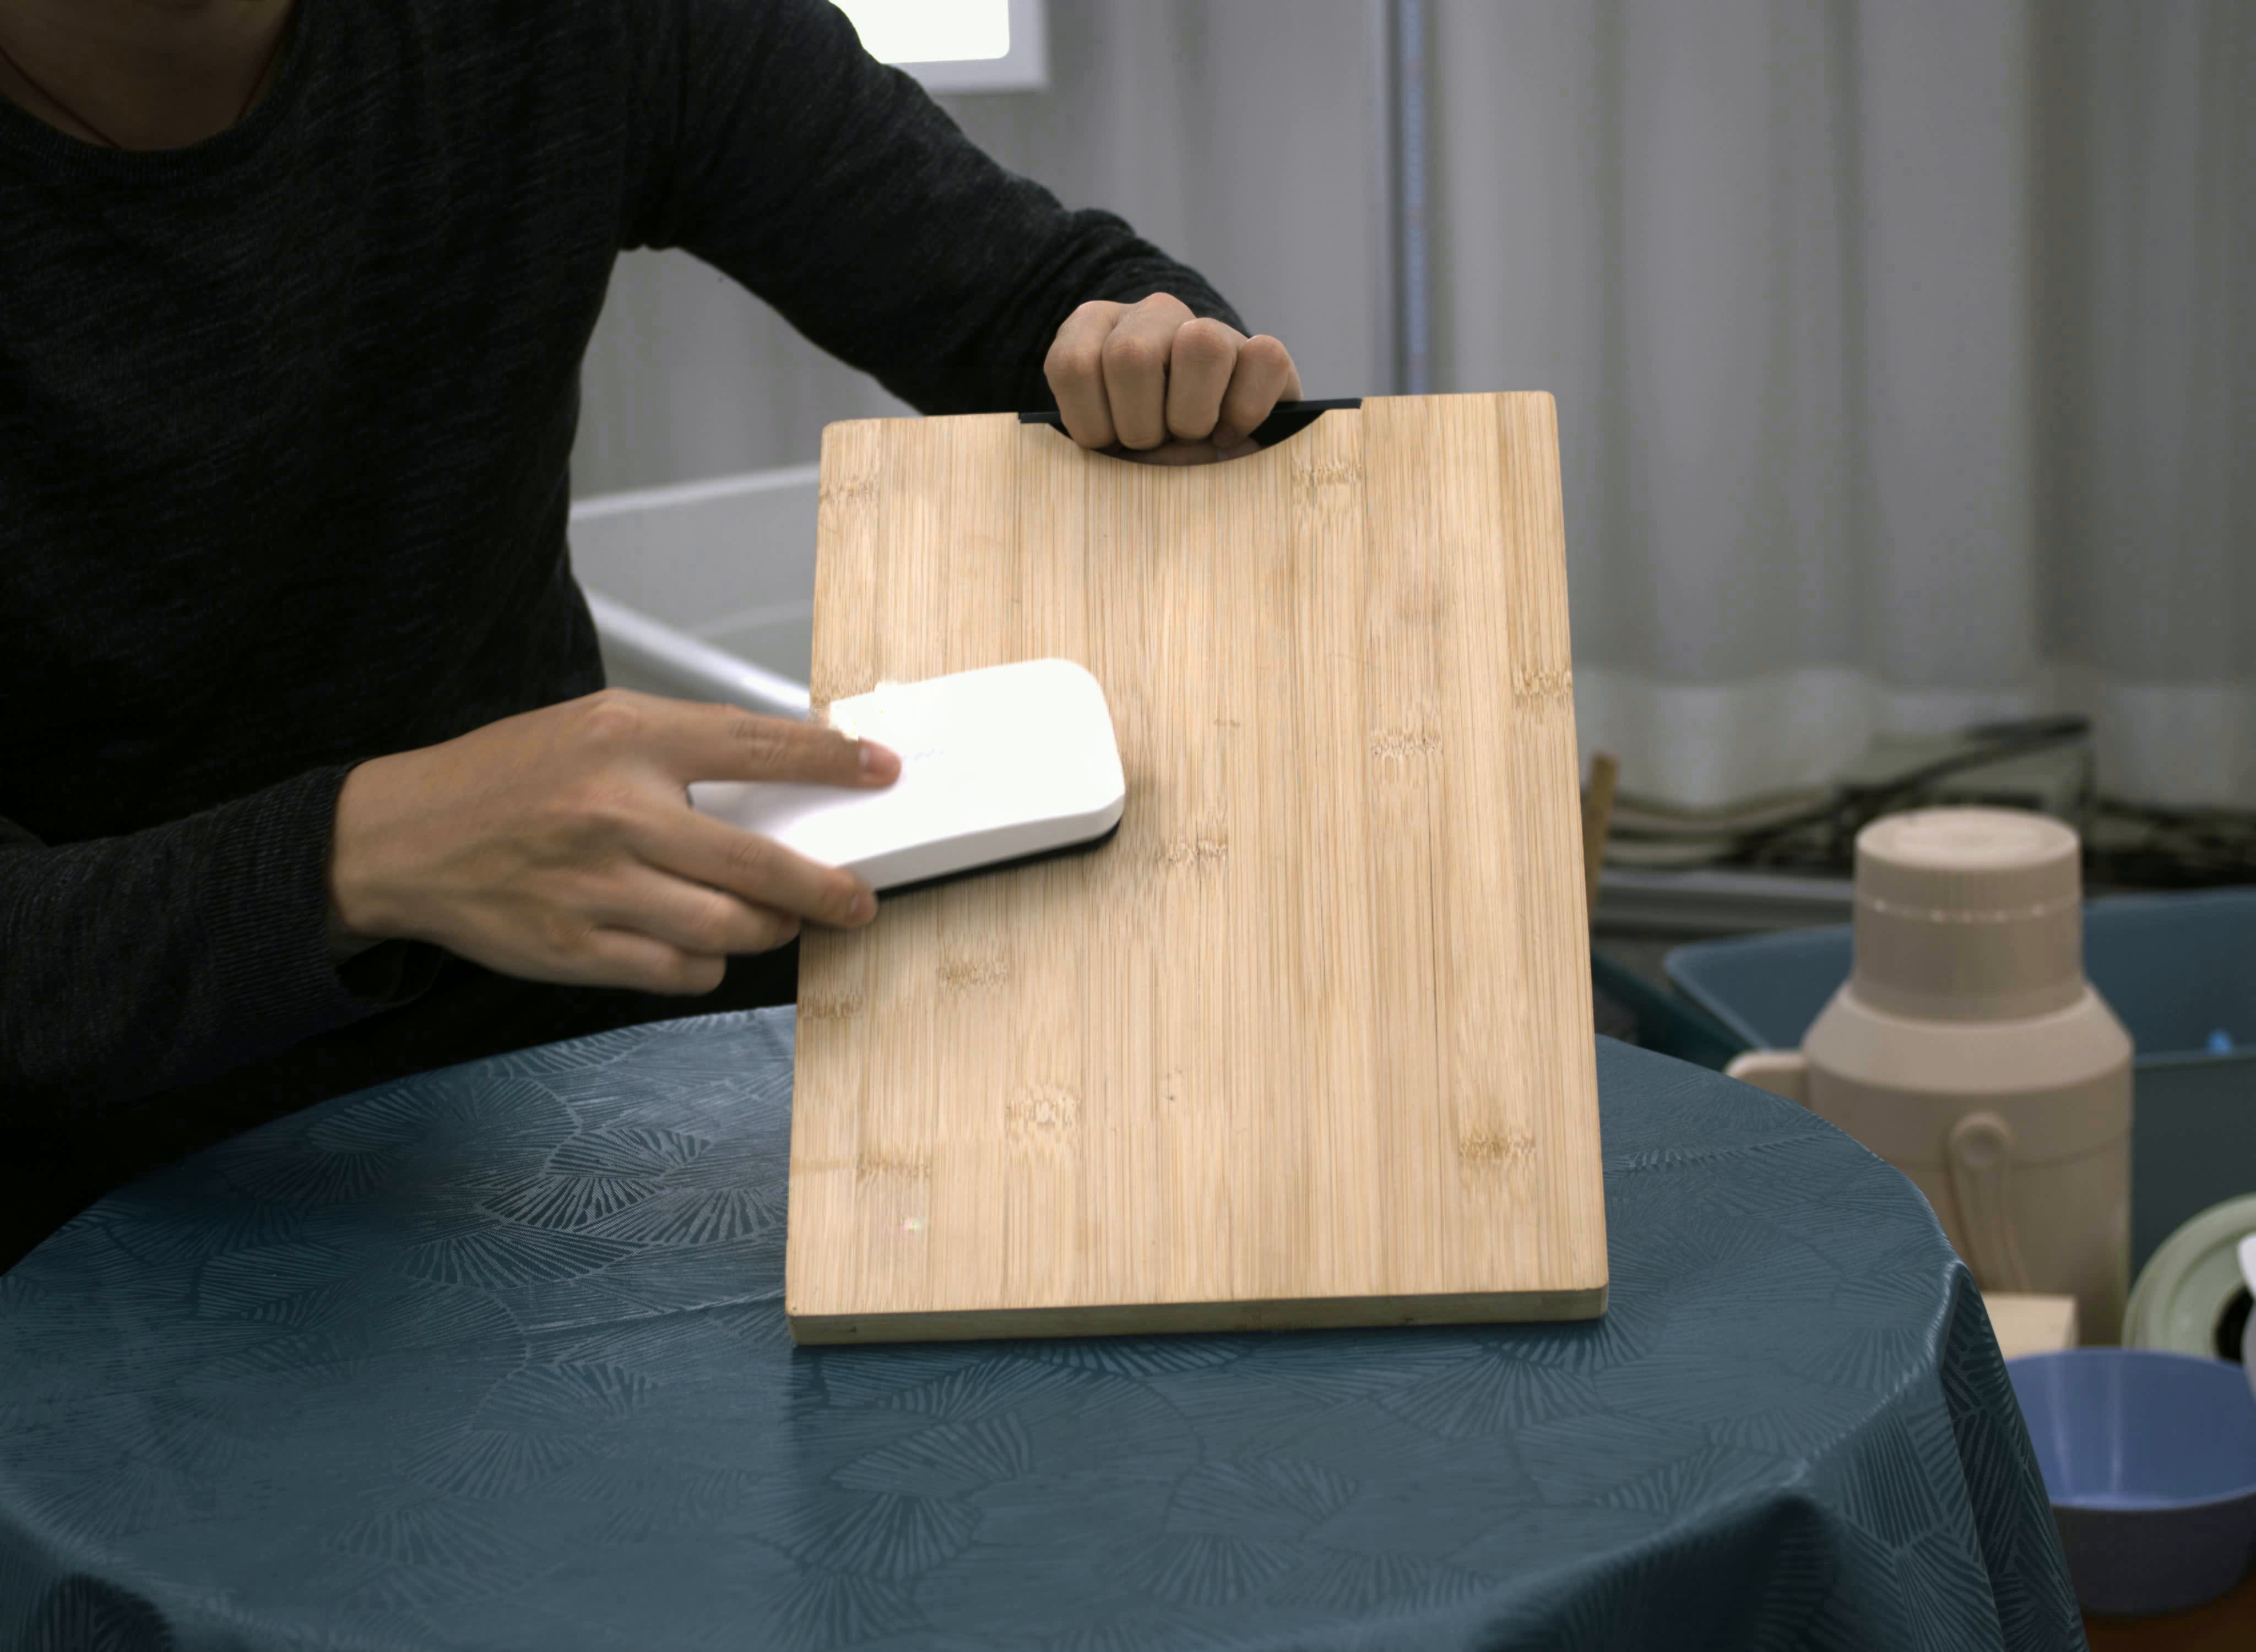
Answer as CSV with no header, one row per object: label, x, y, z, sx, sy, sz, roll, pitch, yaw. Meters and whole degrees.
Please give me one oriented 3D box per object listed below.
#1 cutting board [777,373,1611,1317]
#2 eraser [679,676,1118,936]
cutting board,0.021,0.001,1.689,0.250,0.023,0.354,-3,53,2
eraser,-0.070,-0.008,1.672,0.131,0.034,0.064,-12,52,-6
